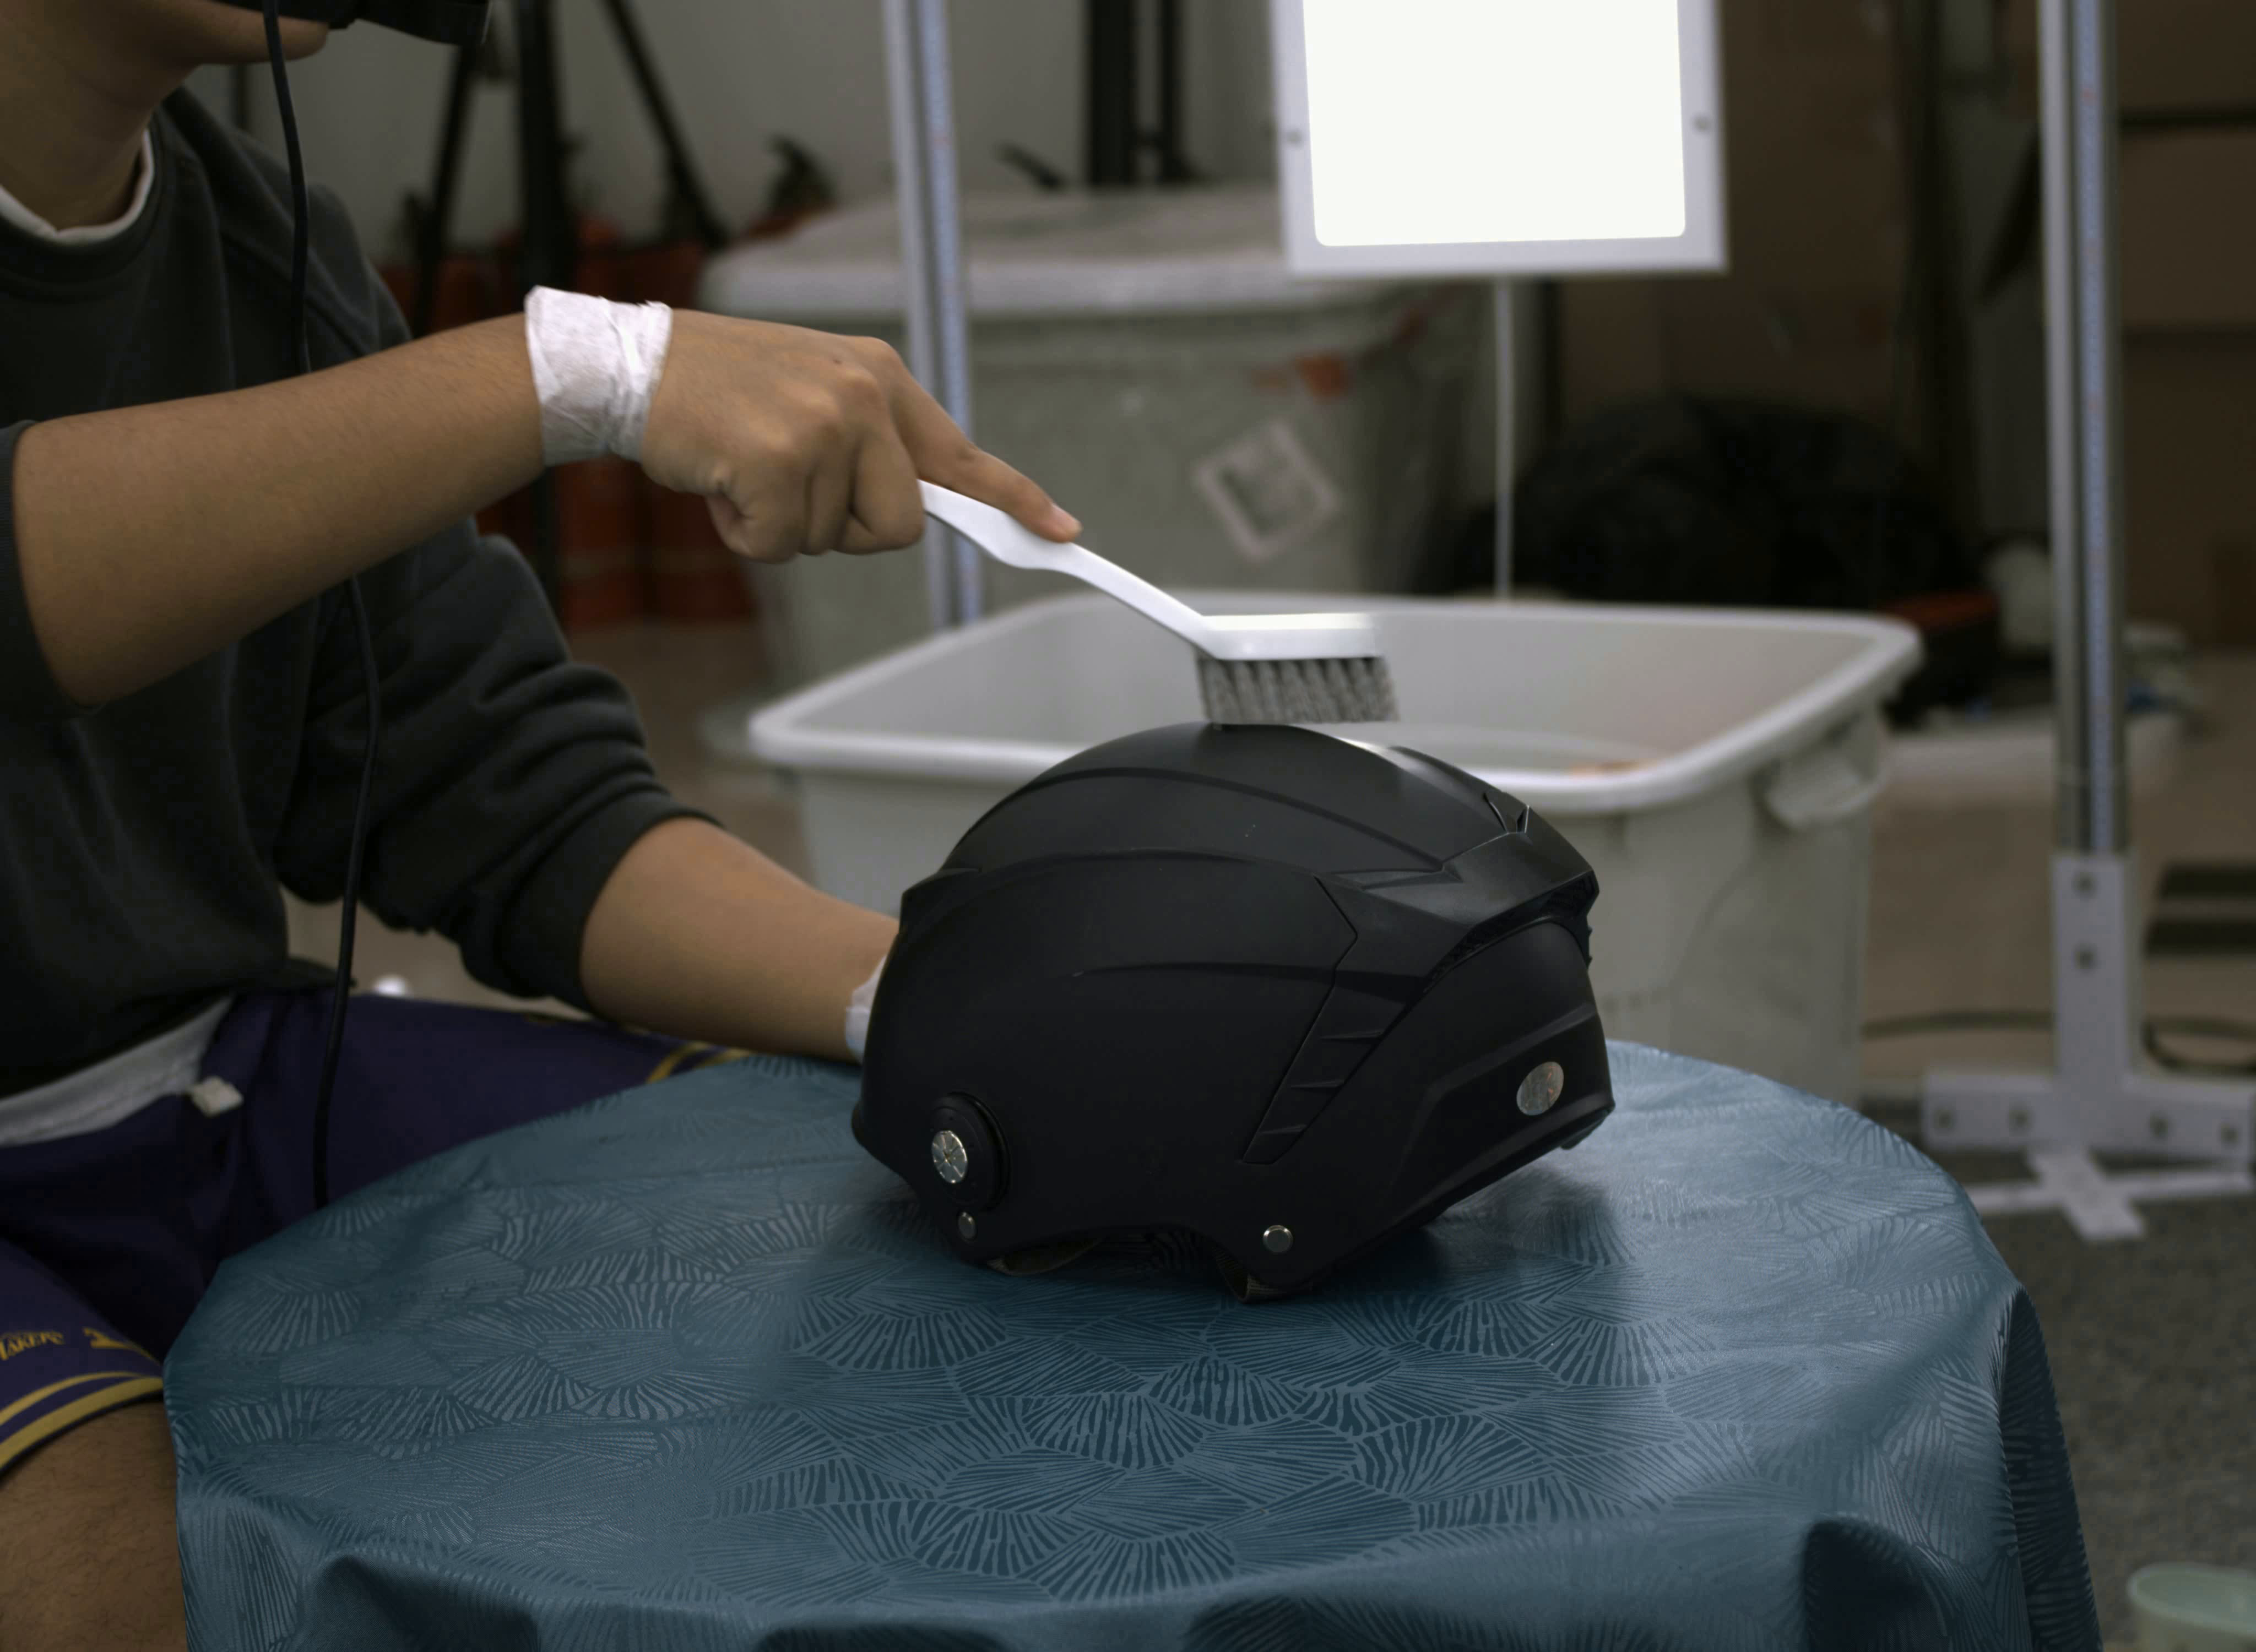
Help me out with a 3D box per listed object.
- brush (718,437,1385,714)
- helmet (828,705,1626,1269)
[{"bbox_3d":[-0.026,-0.078,1.832,0.240,0.050,0.035,15,5,-15],"label":"brush"},{"bbox_3d":[0.034,0.046,1.862,0.282,0.173,0.240,13,24,41],"label":"helmet"}]
